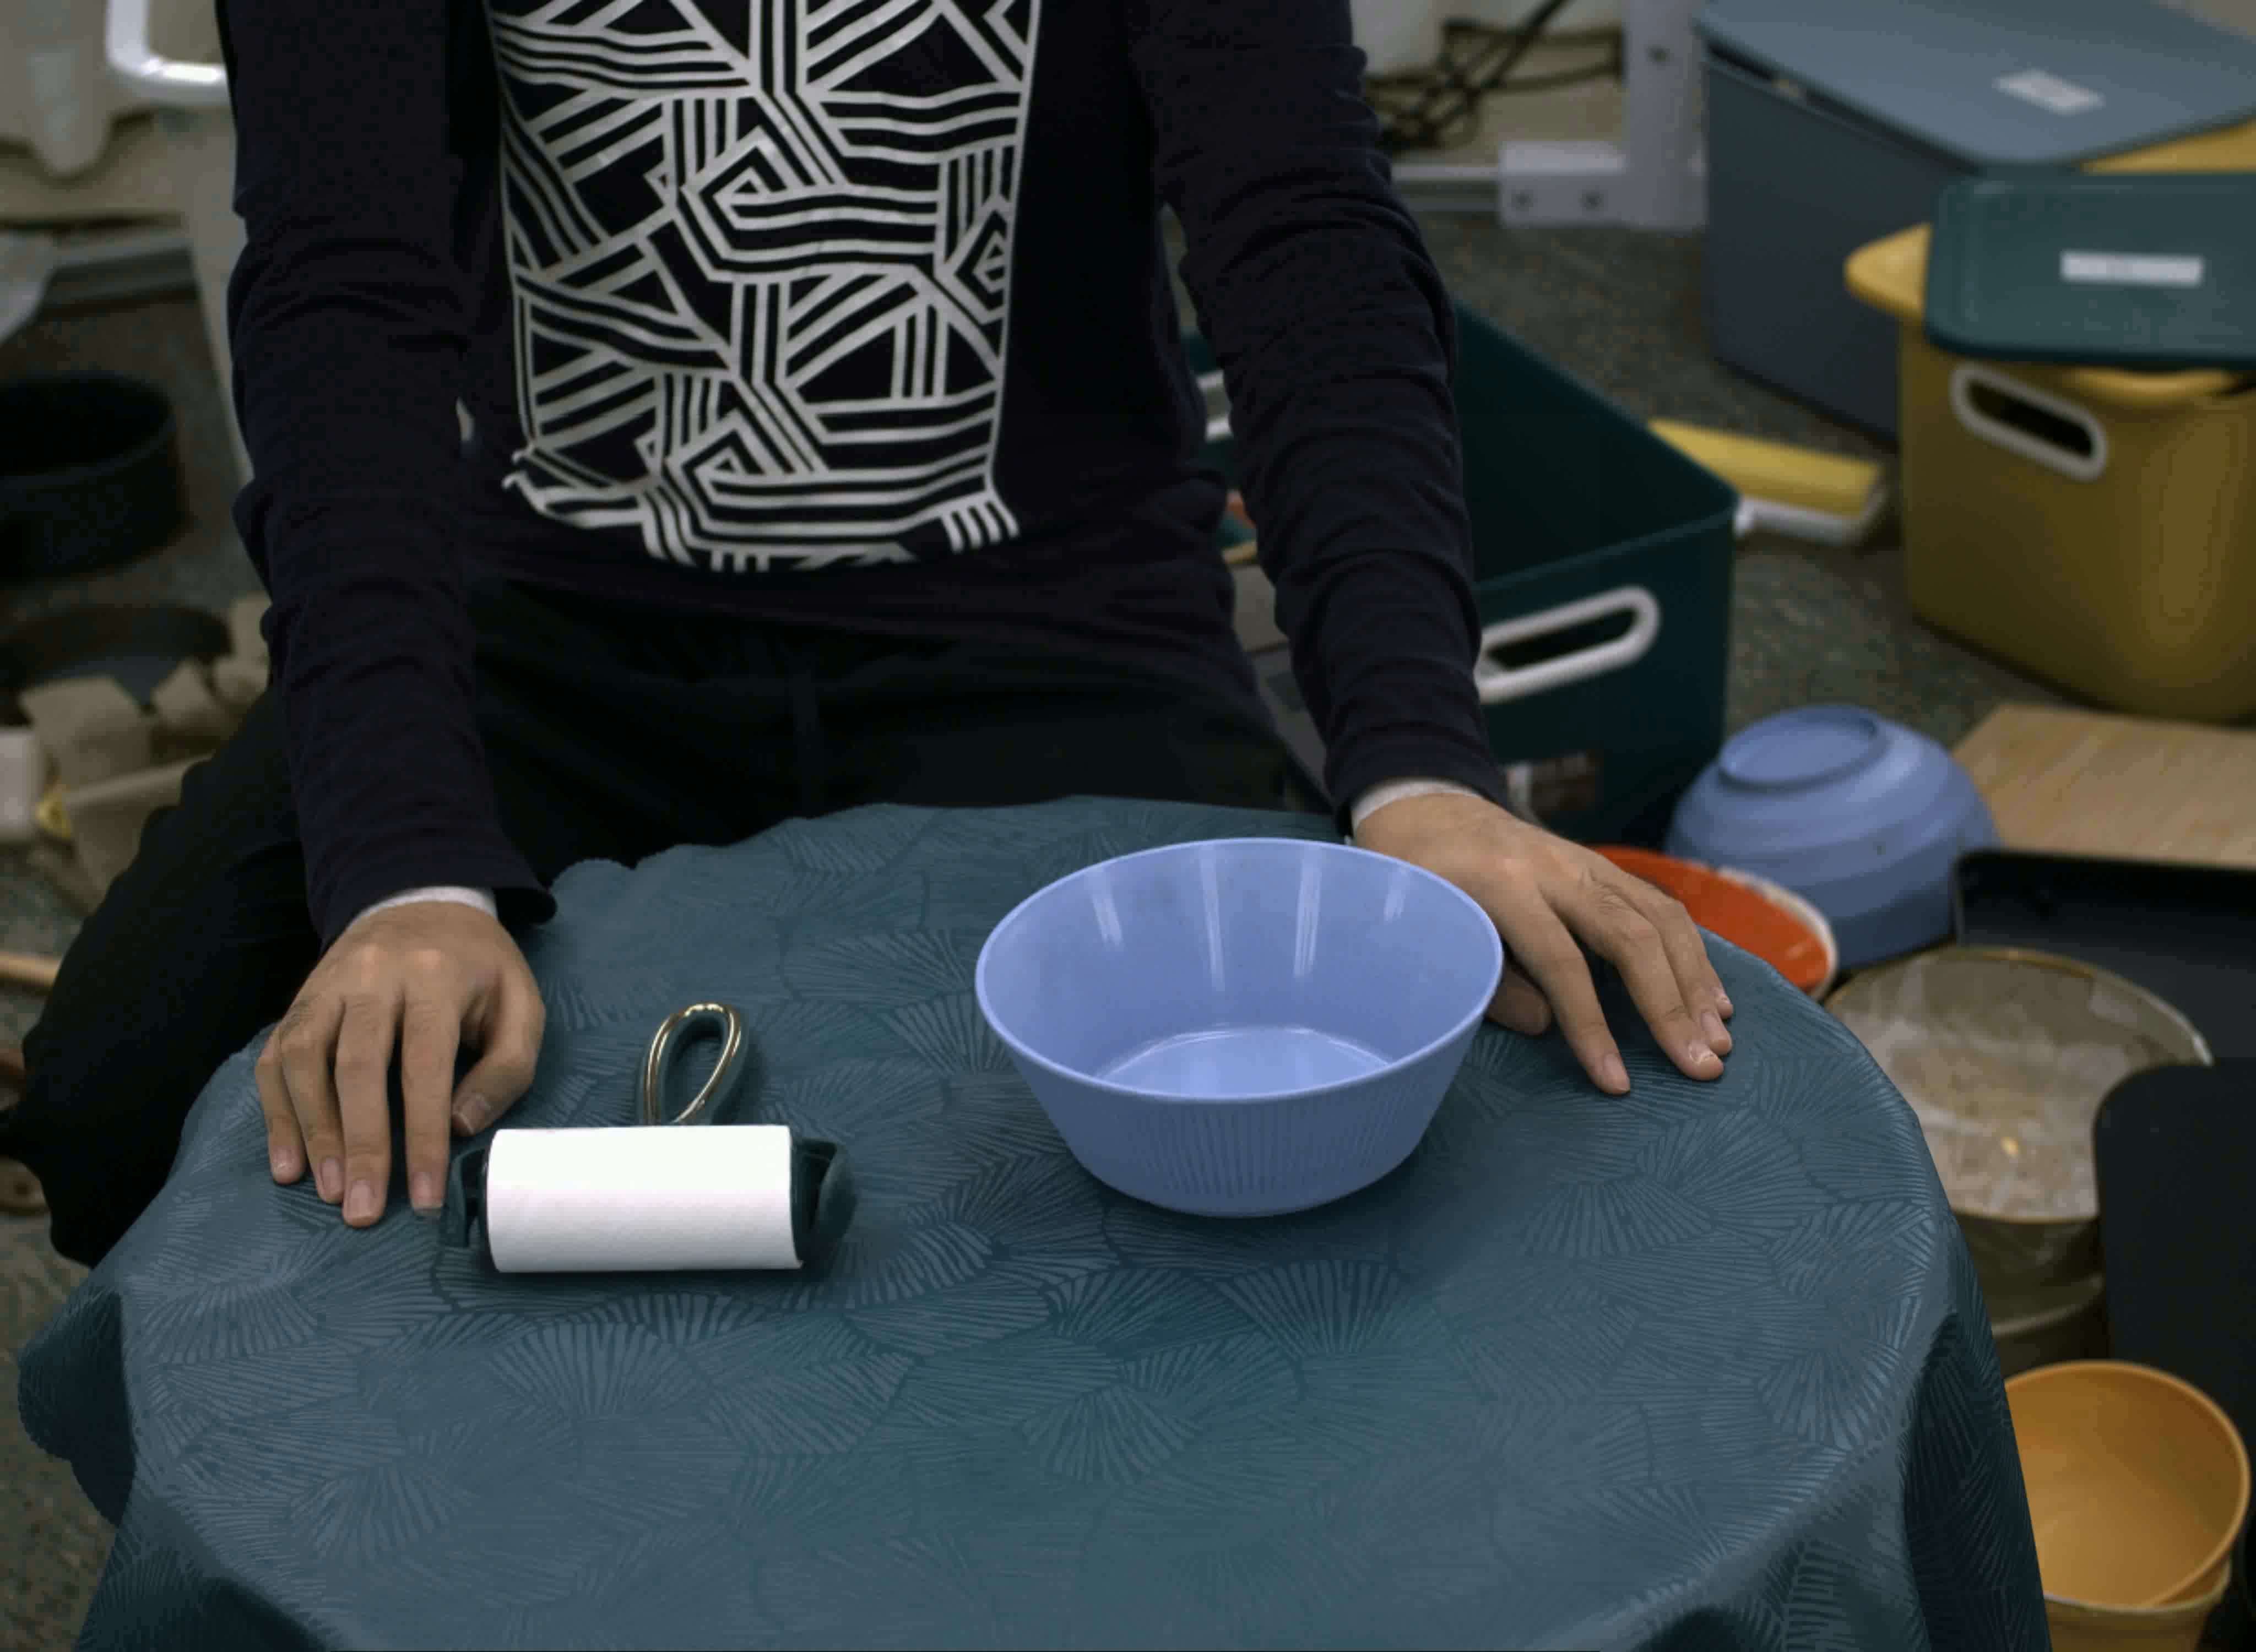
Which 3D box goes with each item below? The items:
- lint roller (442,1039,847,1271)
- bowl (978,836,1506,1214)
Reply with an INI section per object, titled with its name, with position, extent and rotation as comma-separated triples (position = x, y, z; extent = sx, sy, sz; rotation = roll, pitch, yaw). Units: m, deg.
[lint roller]
position = -0.154, 0.094, 1.887
extent = 0.133, 0.048, 0.182
rotation = -1, 23, 3
[bowl]
position = 0.039, 0.073, 1.874
extent = 0.175, 0.069, 0.179
rotation = -2, 27, 2
